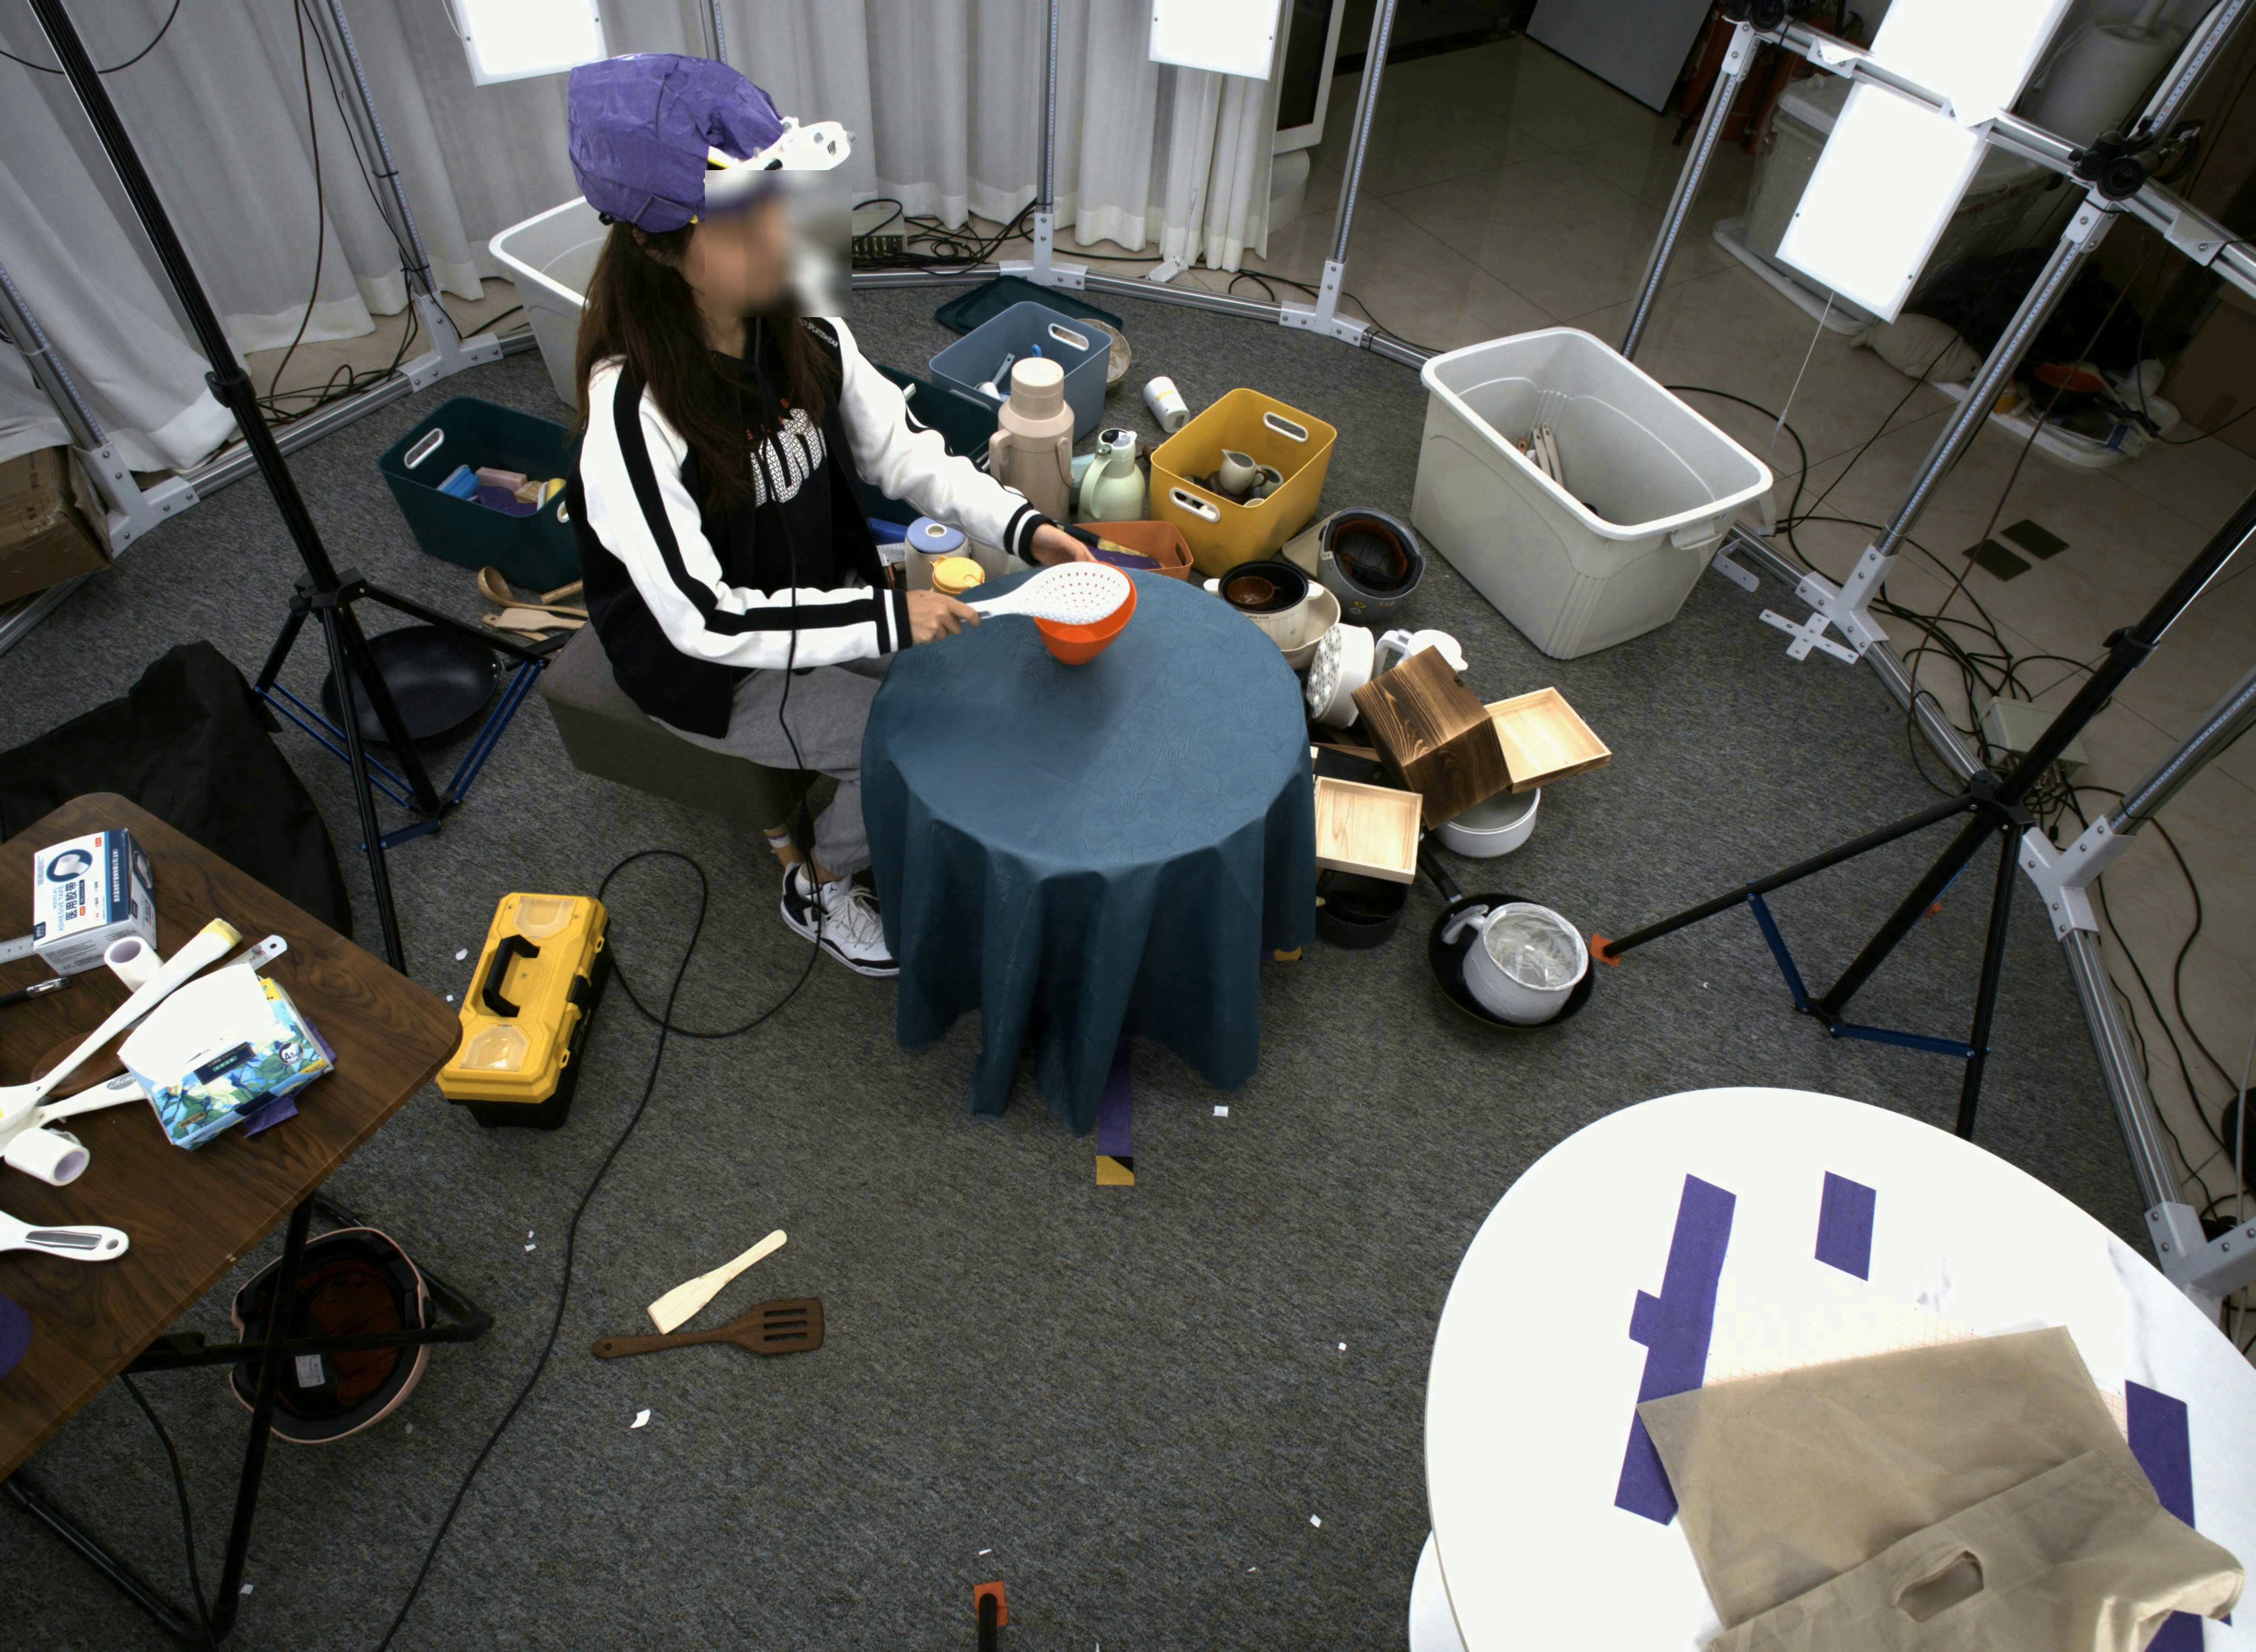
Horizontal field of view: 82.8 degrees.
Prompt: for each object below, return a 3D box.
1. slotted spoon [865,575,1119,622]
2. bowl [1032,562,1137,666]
[{"bbox_3d":[-0.184,-0.296,1.709,0.350,0.135,0.046,2,85,15],"label":"slotted spoon"},{"bbox_3d":[-0.064,-0.290,1.832,0.148,0.102,0.151,2,55,-3],"label":"bowl"}]
